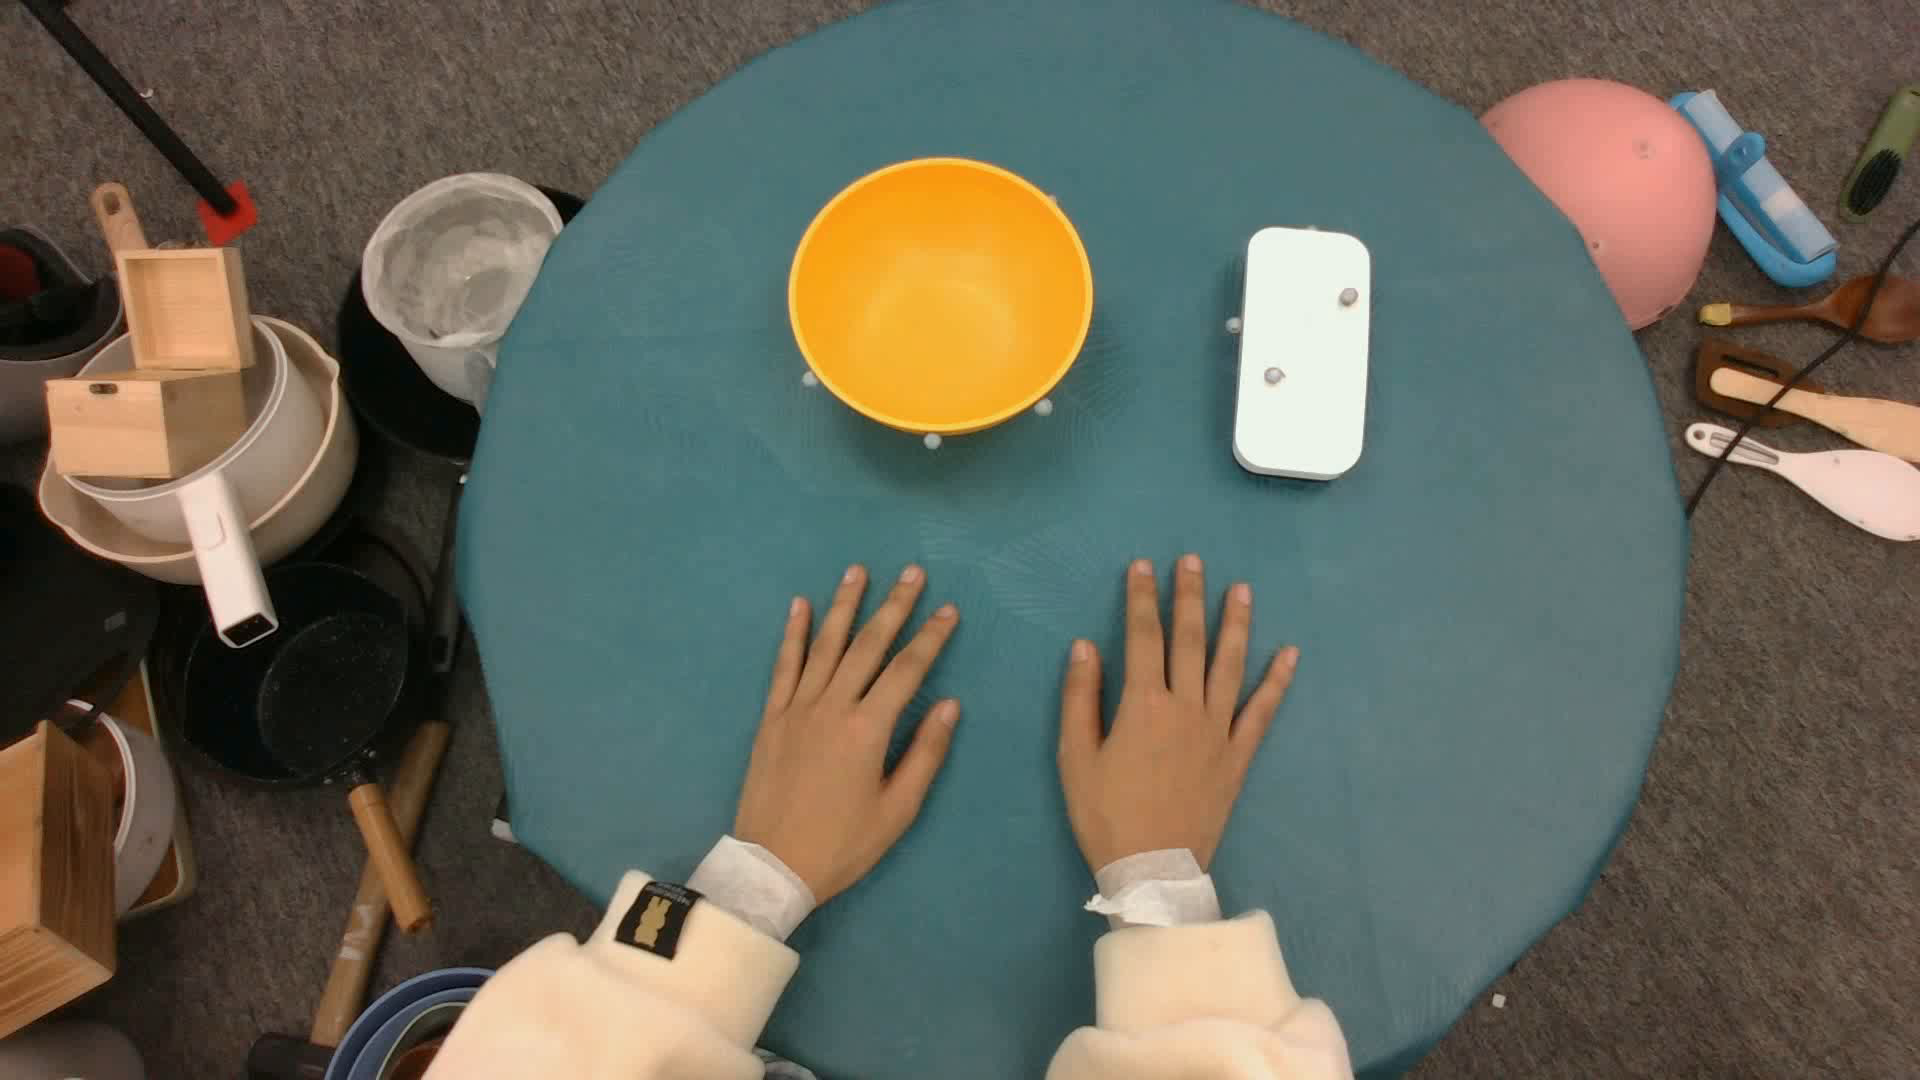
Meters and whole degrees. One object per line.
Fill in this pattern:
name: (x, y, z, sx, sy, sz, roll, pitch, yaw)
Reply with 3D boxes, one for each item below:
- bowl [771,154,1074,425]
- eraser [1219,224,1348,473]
bowl: (-0.018, -0.114, 0.681, 0.145, 0.060, 0.146, 1, 70, -2)
eraser: (0.161, -0.098, 0.692, 0.063, 0.034, 0.131, 6, 71, 3)
